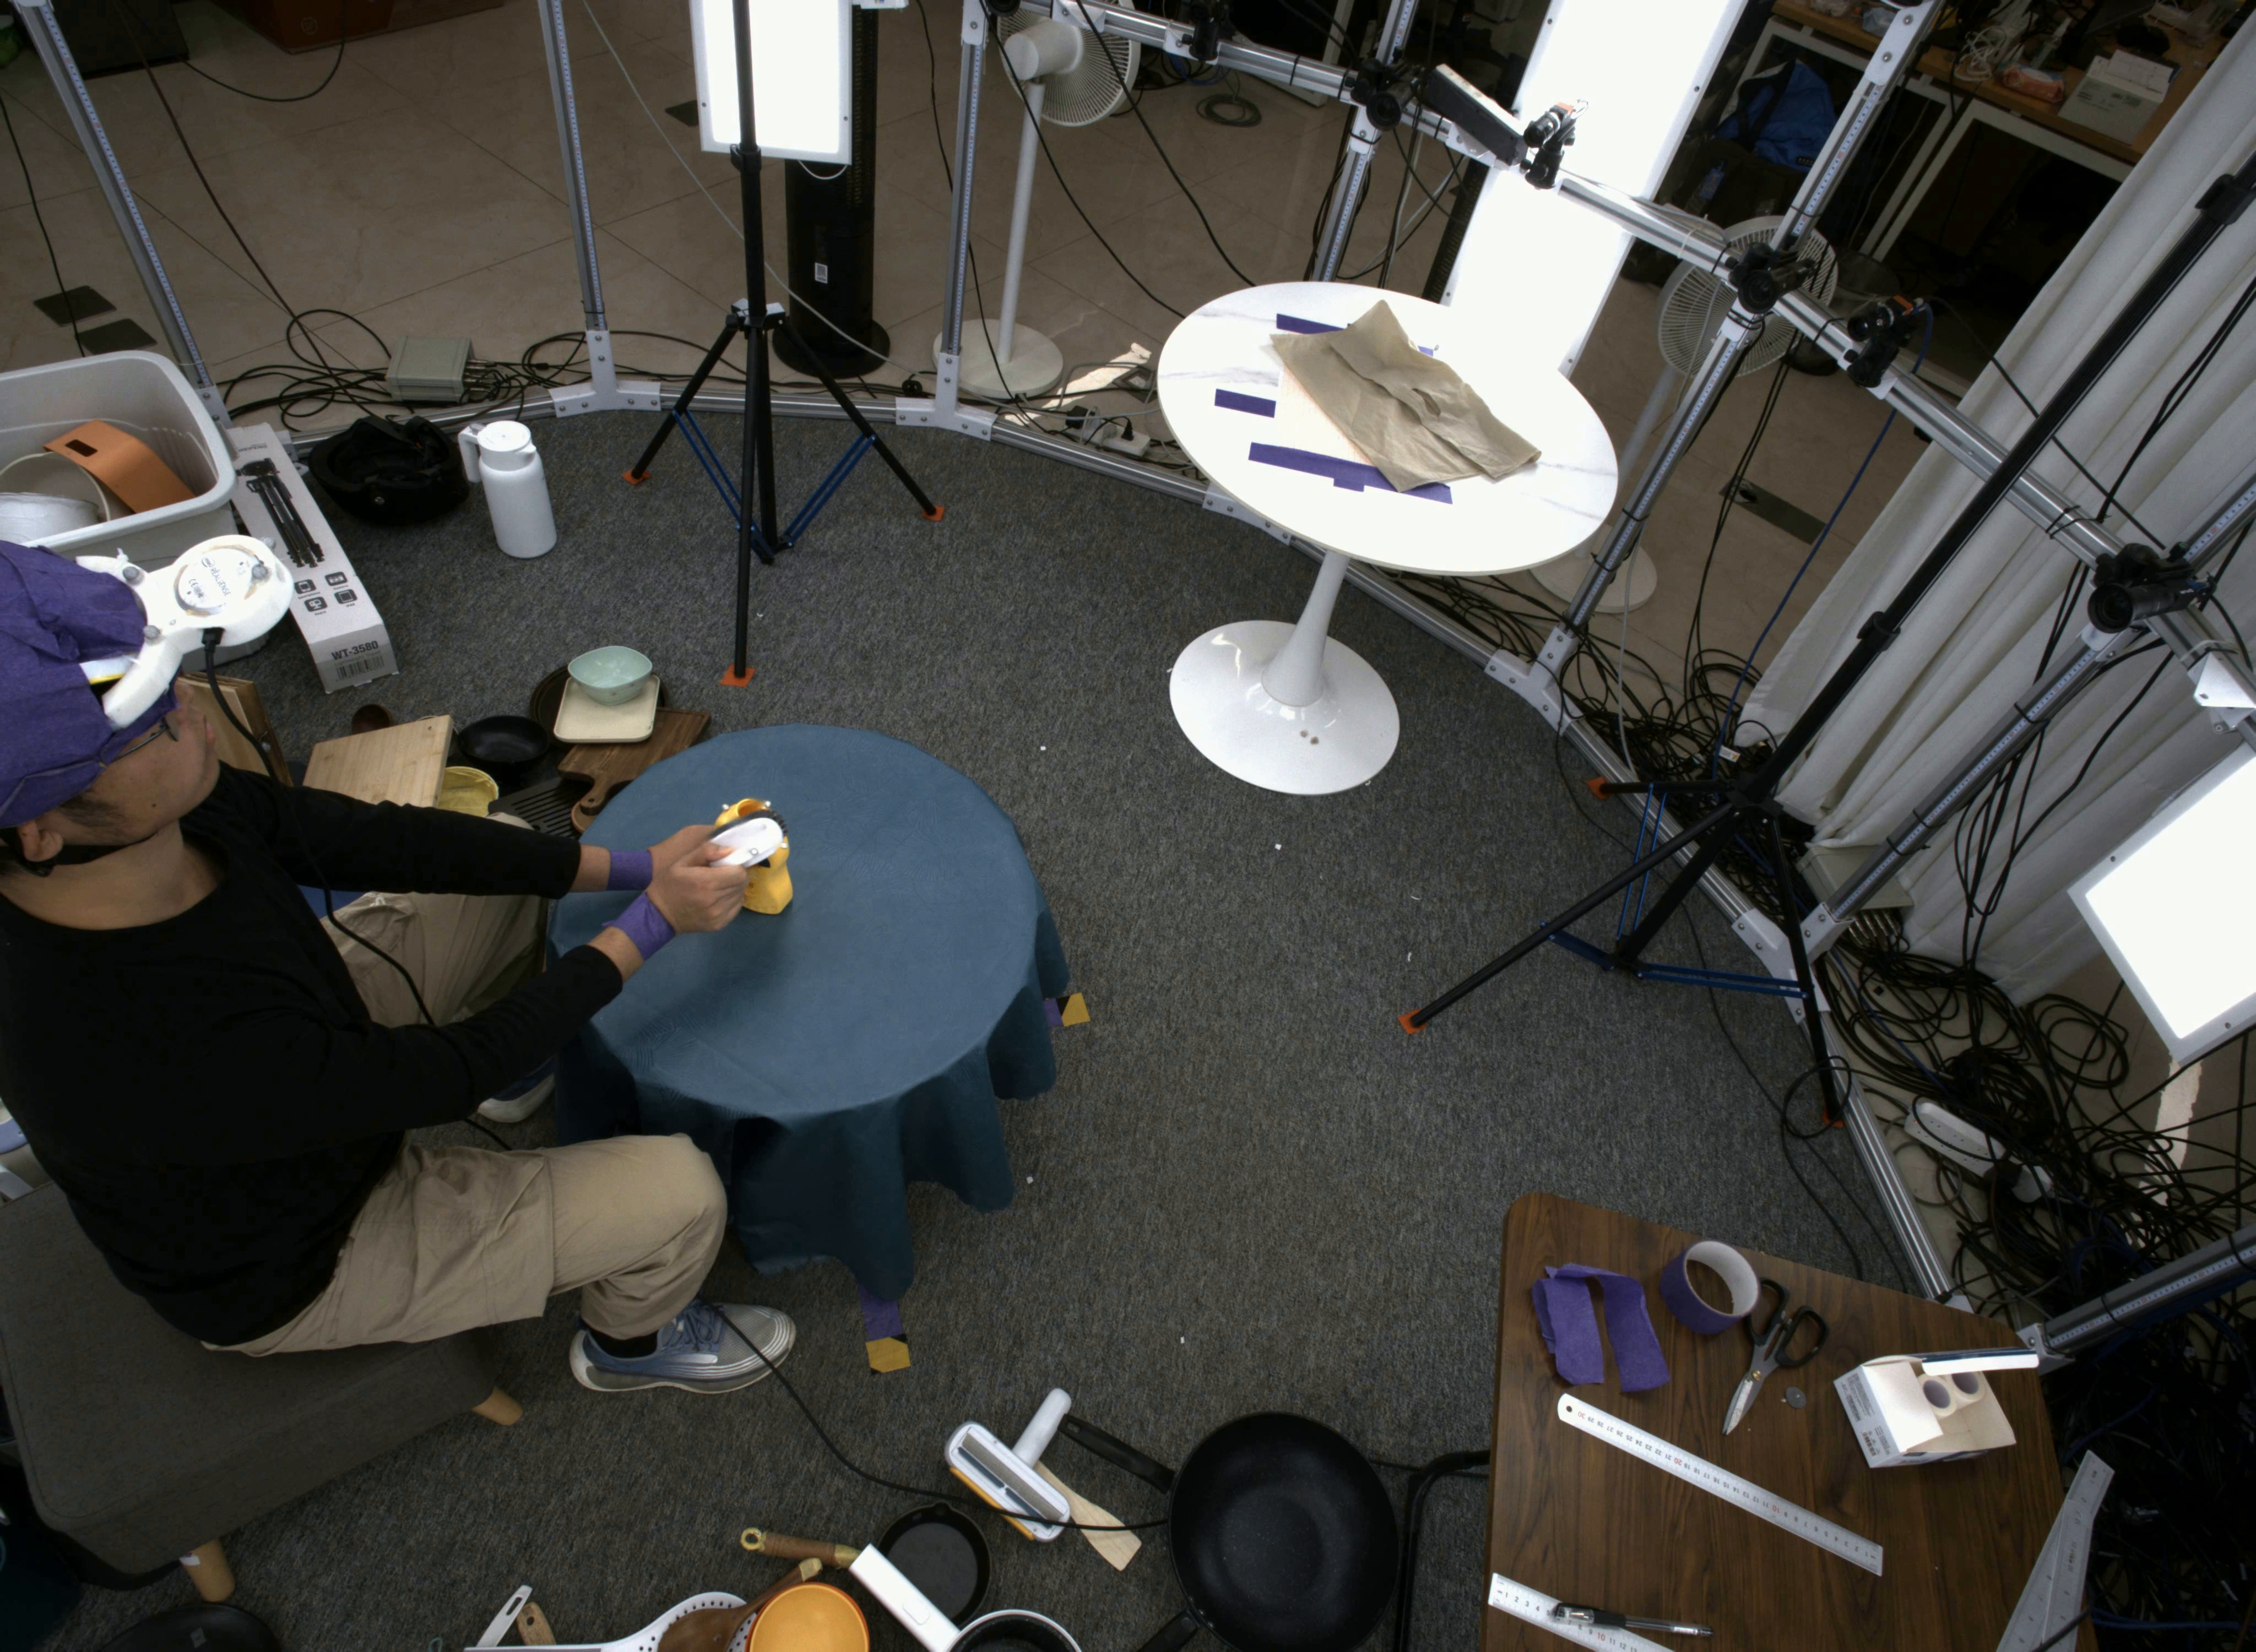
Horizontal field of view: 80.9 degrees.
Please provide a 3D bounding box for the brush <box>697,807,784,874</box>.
[{"bbox_3d":[-0.449,0.022,1.487,0.098,0.052,0.071,-23,22,5],"label":"brush"}]

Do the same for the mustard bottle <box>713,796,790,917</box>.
[{"bbox_3d":[-0.462,0.031,1.586,0.097,0.175,0.059,28,52,8],"label":"mustard bottle"}]
